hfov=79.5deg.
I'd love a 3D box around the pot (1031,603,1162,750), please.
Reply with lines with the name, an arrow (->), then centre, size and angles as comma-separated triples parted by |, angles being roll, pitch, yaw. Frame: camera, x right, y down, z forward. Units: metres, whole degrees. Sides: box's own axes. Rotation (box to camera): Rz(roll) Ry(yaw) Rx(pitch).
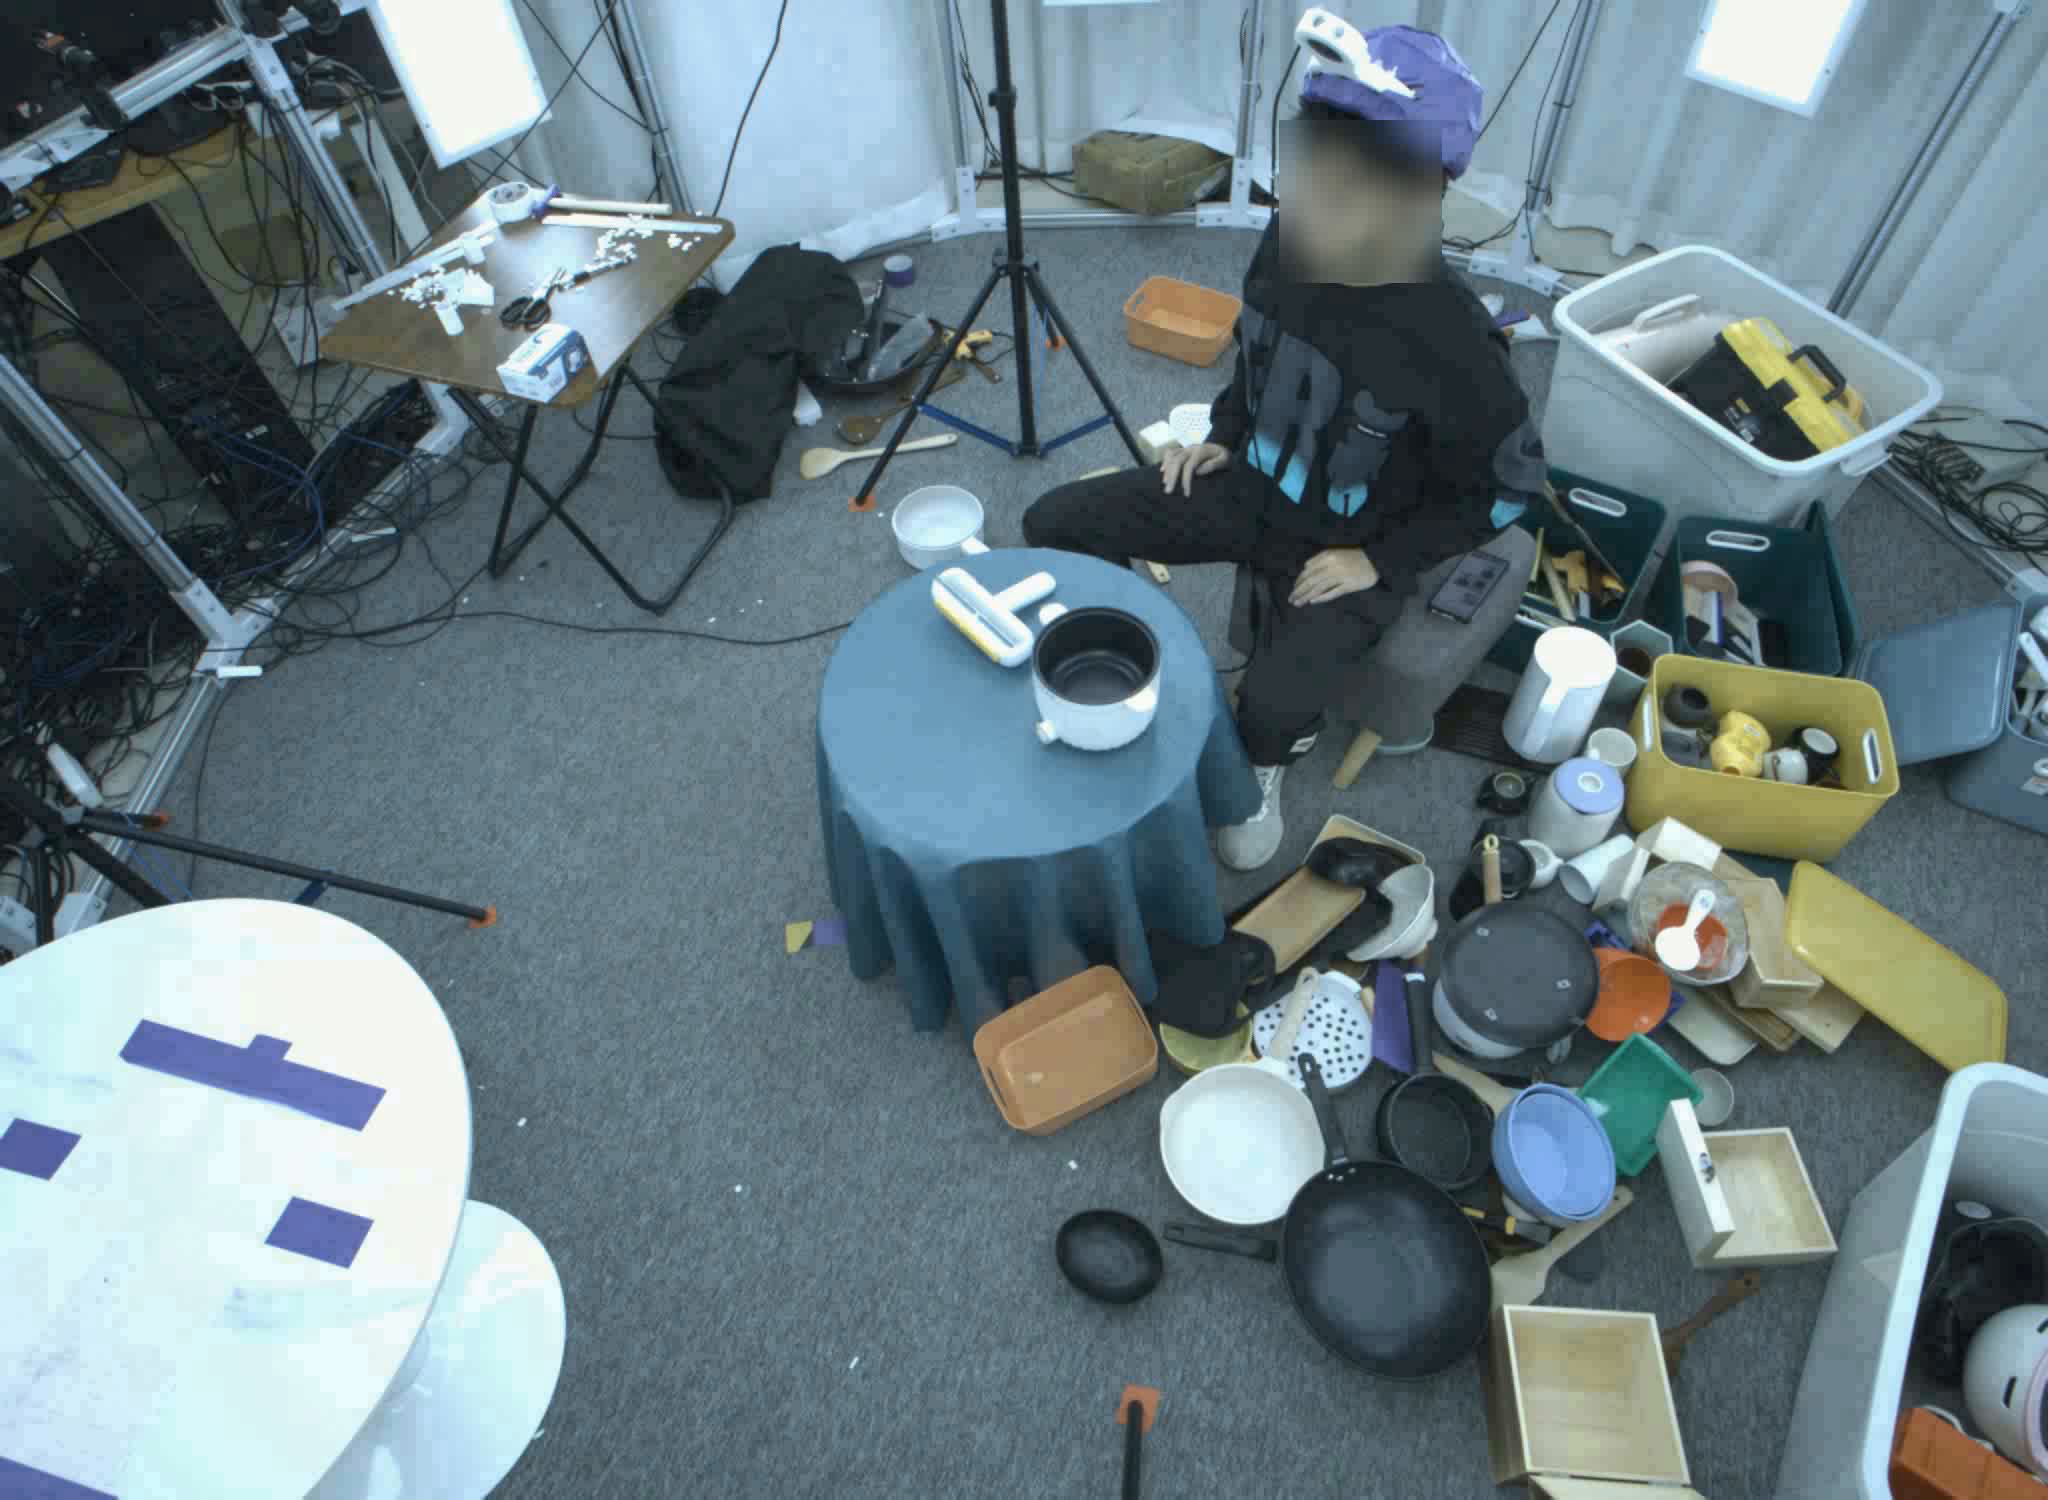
pot -> 0.100, -0.093, 1.759 | 0.192, 0.144, 0.236 | -31, 58, -21

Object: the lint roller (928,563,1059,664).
lint roller -> -0.025, -0.235, 1.909 | 0.194, 0.075, 0.190 | -35, 66, -23
